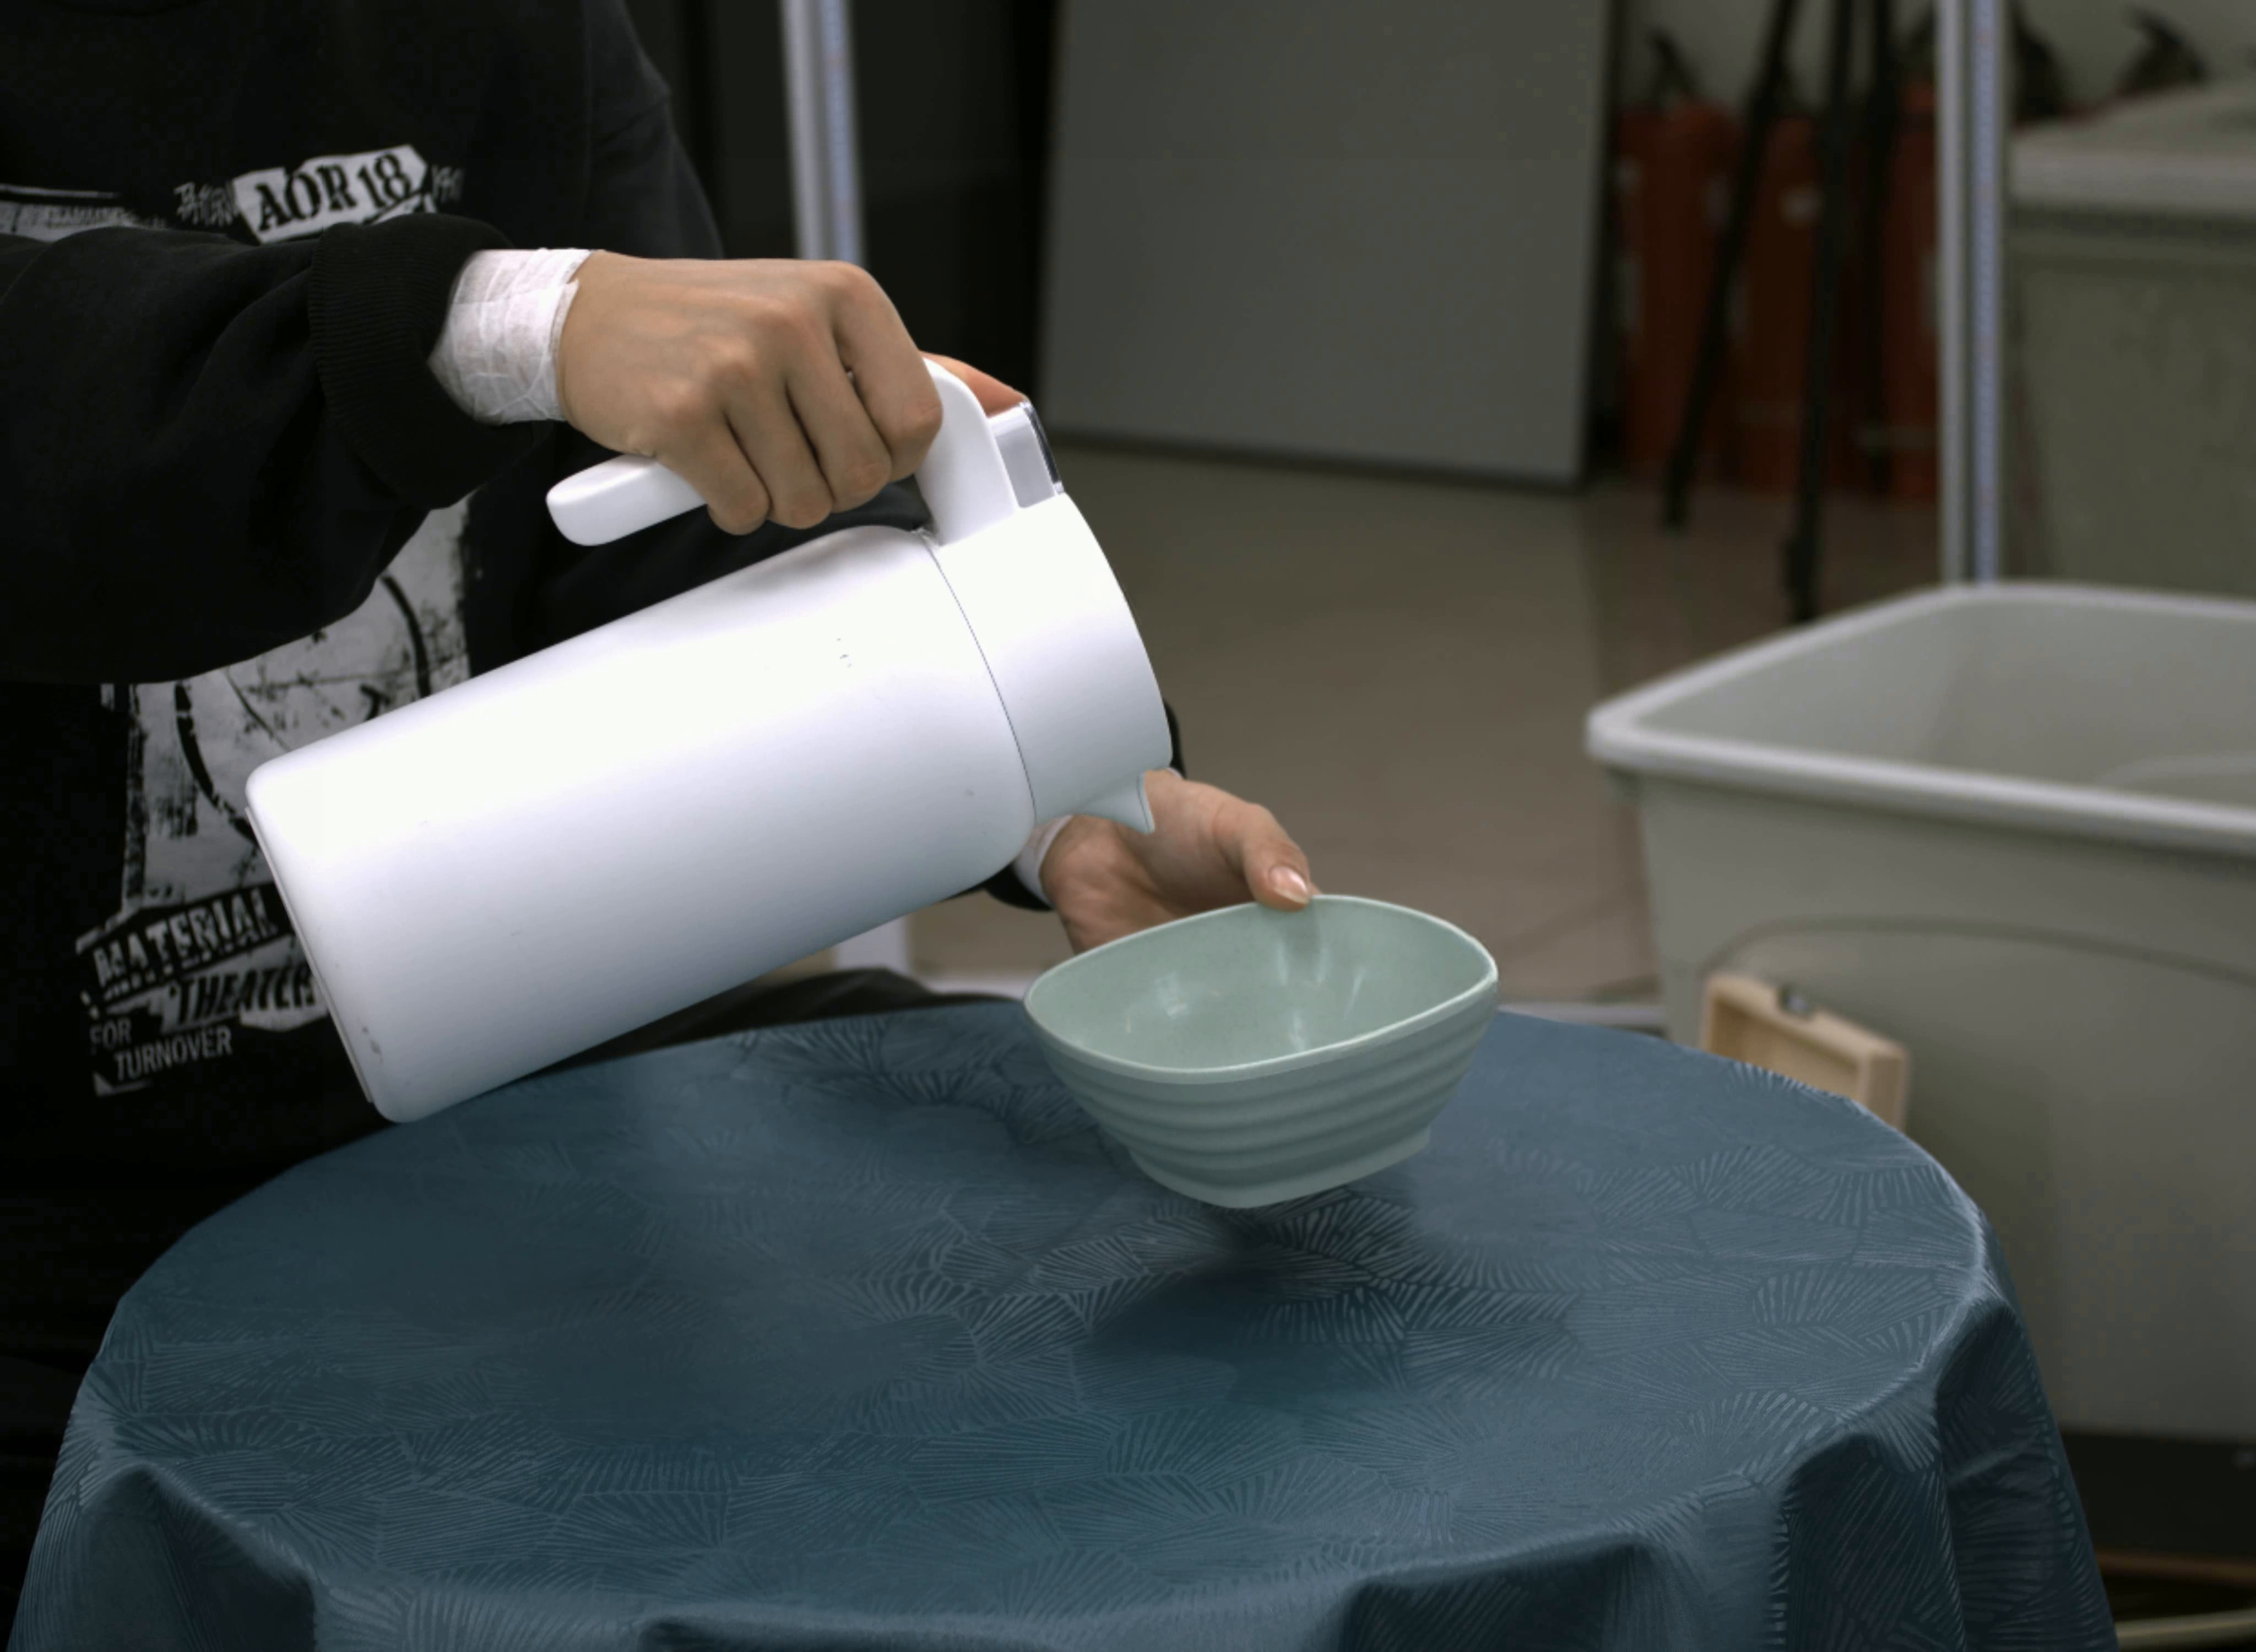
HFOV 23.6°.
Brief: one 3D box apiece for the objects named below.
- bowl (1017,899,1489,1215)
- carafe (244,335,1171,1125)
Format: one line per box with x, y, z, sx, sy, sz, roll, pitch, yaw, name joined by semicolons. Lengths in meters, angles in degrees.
0.042;0.075;1.677;0.149;0.059;0.152;-8;17;2;bowl
-0.131;-0.029;1.627;0.265;0.173;0.125;-23;19;-6;carafe
